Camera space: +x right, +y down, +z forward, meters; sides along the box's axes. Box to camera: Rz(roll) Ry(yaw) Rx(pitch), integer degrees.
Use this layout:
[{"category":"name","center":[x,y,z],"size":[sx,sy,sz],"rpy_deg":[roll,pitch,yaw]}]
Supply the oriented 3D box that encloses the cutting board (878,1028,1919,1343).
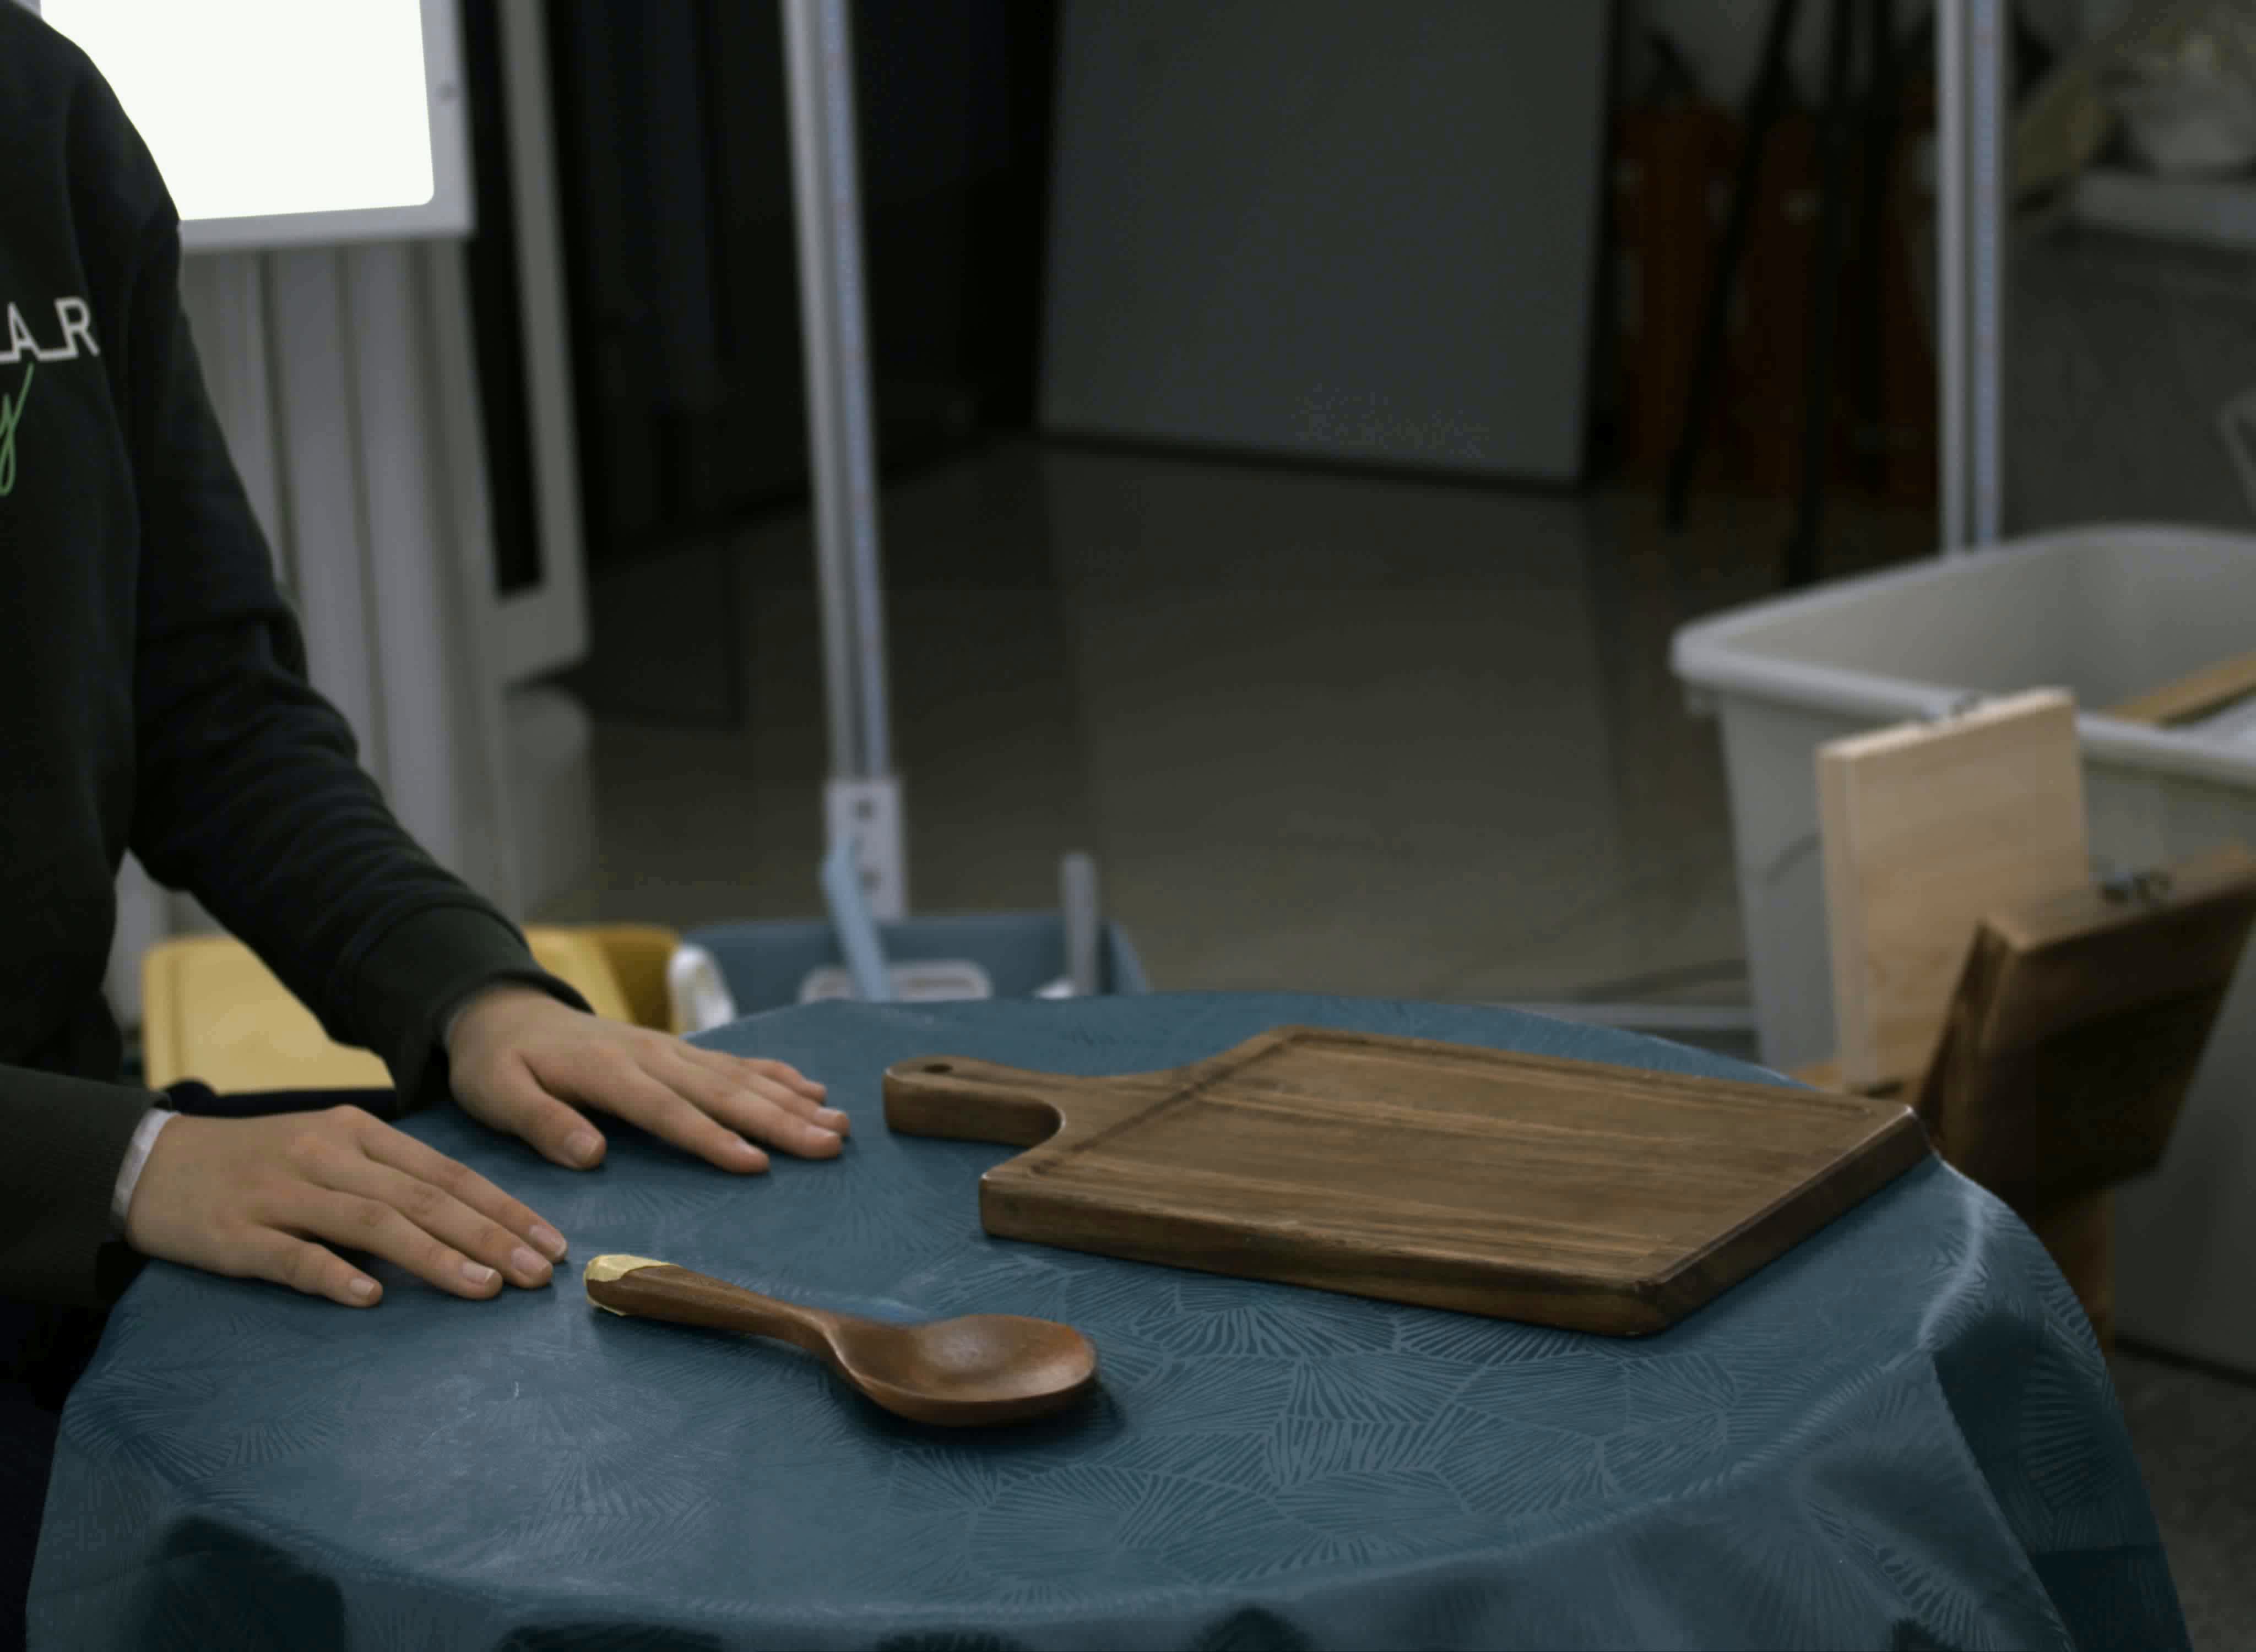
[{"category":"cutting board","center":[0.064,0.108,1.768],"size":[0.354,0.023,0.197],"rpy_deg":[5,18,34]}]

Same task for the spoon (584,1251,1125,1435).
[{"category":"spoon","center":[-0.088,0.155,1.625],"size":[0.218,0.017,0.074],"rpy_deg":[10,21,43]}]
